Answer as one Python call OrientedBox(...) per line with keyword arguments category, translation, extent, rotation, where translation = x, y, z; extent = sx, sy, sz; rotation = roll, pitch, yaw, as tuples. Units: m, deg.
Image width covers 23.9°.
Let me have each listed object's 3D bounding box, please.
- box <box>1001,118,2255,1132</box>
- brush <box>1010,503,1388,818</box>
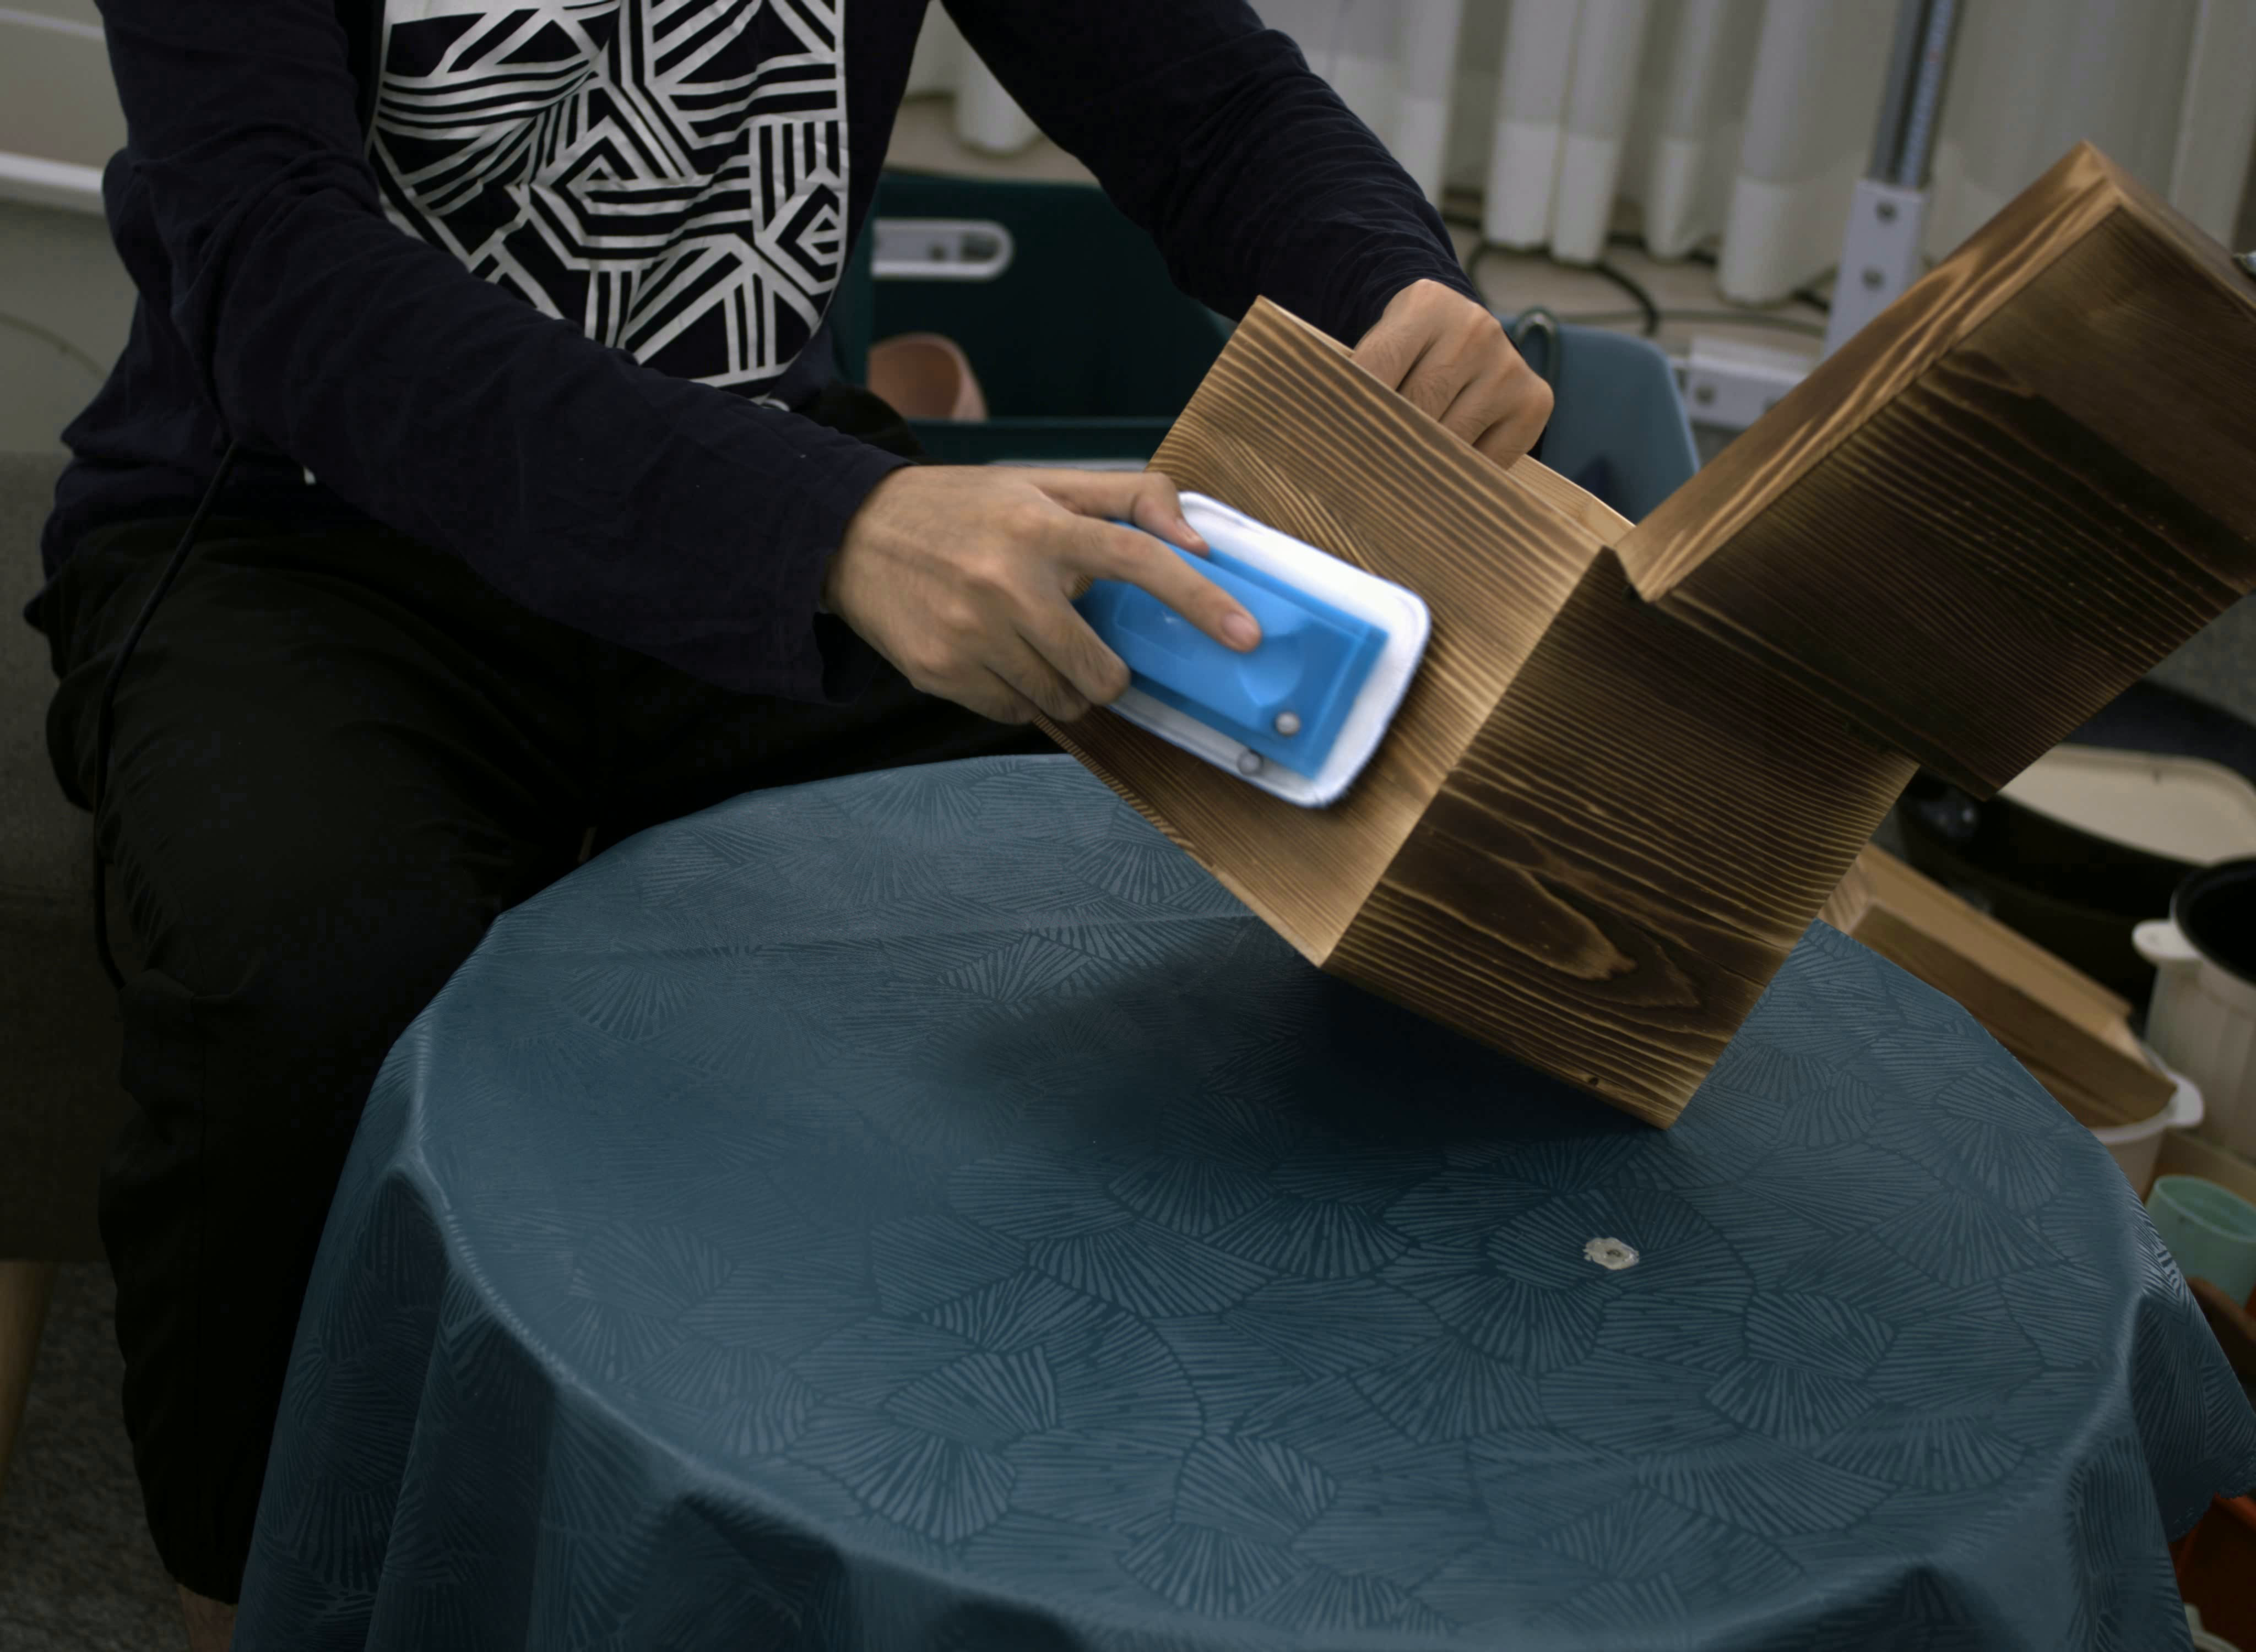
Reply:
OrientedBox(category="box", translation=(0.198, -0.095, 1.825), extent=(0.207, 0.375, 0.325), rotation=(26, 11, -44))
OrientedBox(category="brush", translation=(0.016, -0.061, 1.782), extent=(0.145, 0.084, 0.055), rotation=(27, -3, 41))
